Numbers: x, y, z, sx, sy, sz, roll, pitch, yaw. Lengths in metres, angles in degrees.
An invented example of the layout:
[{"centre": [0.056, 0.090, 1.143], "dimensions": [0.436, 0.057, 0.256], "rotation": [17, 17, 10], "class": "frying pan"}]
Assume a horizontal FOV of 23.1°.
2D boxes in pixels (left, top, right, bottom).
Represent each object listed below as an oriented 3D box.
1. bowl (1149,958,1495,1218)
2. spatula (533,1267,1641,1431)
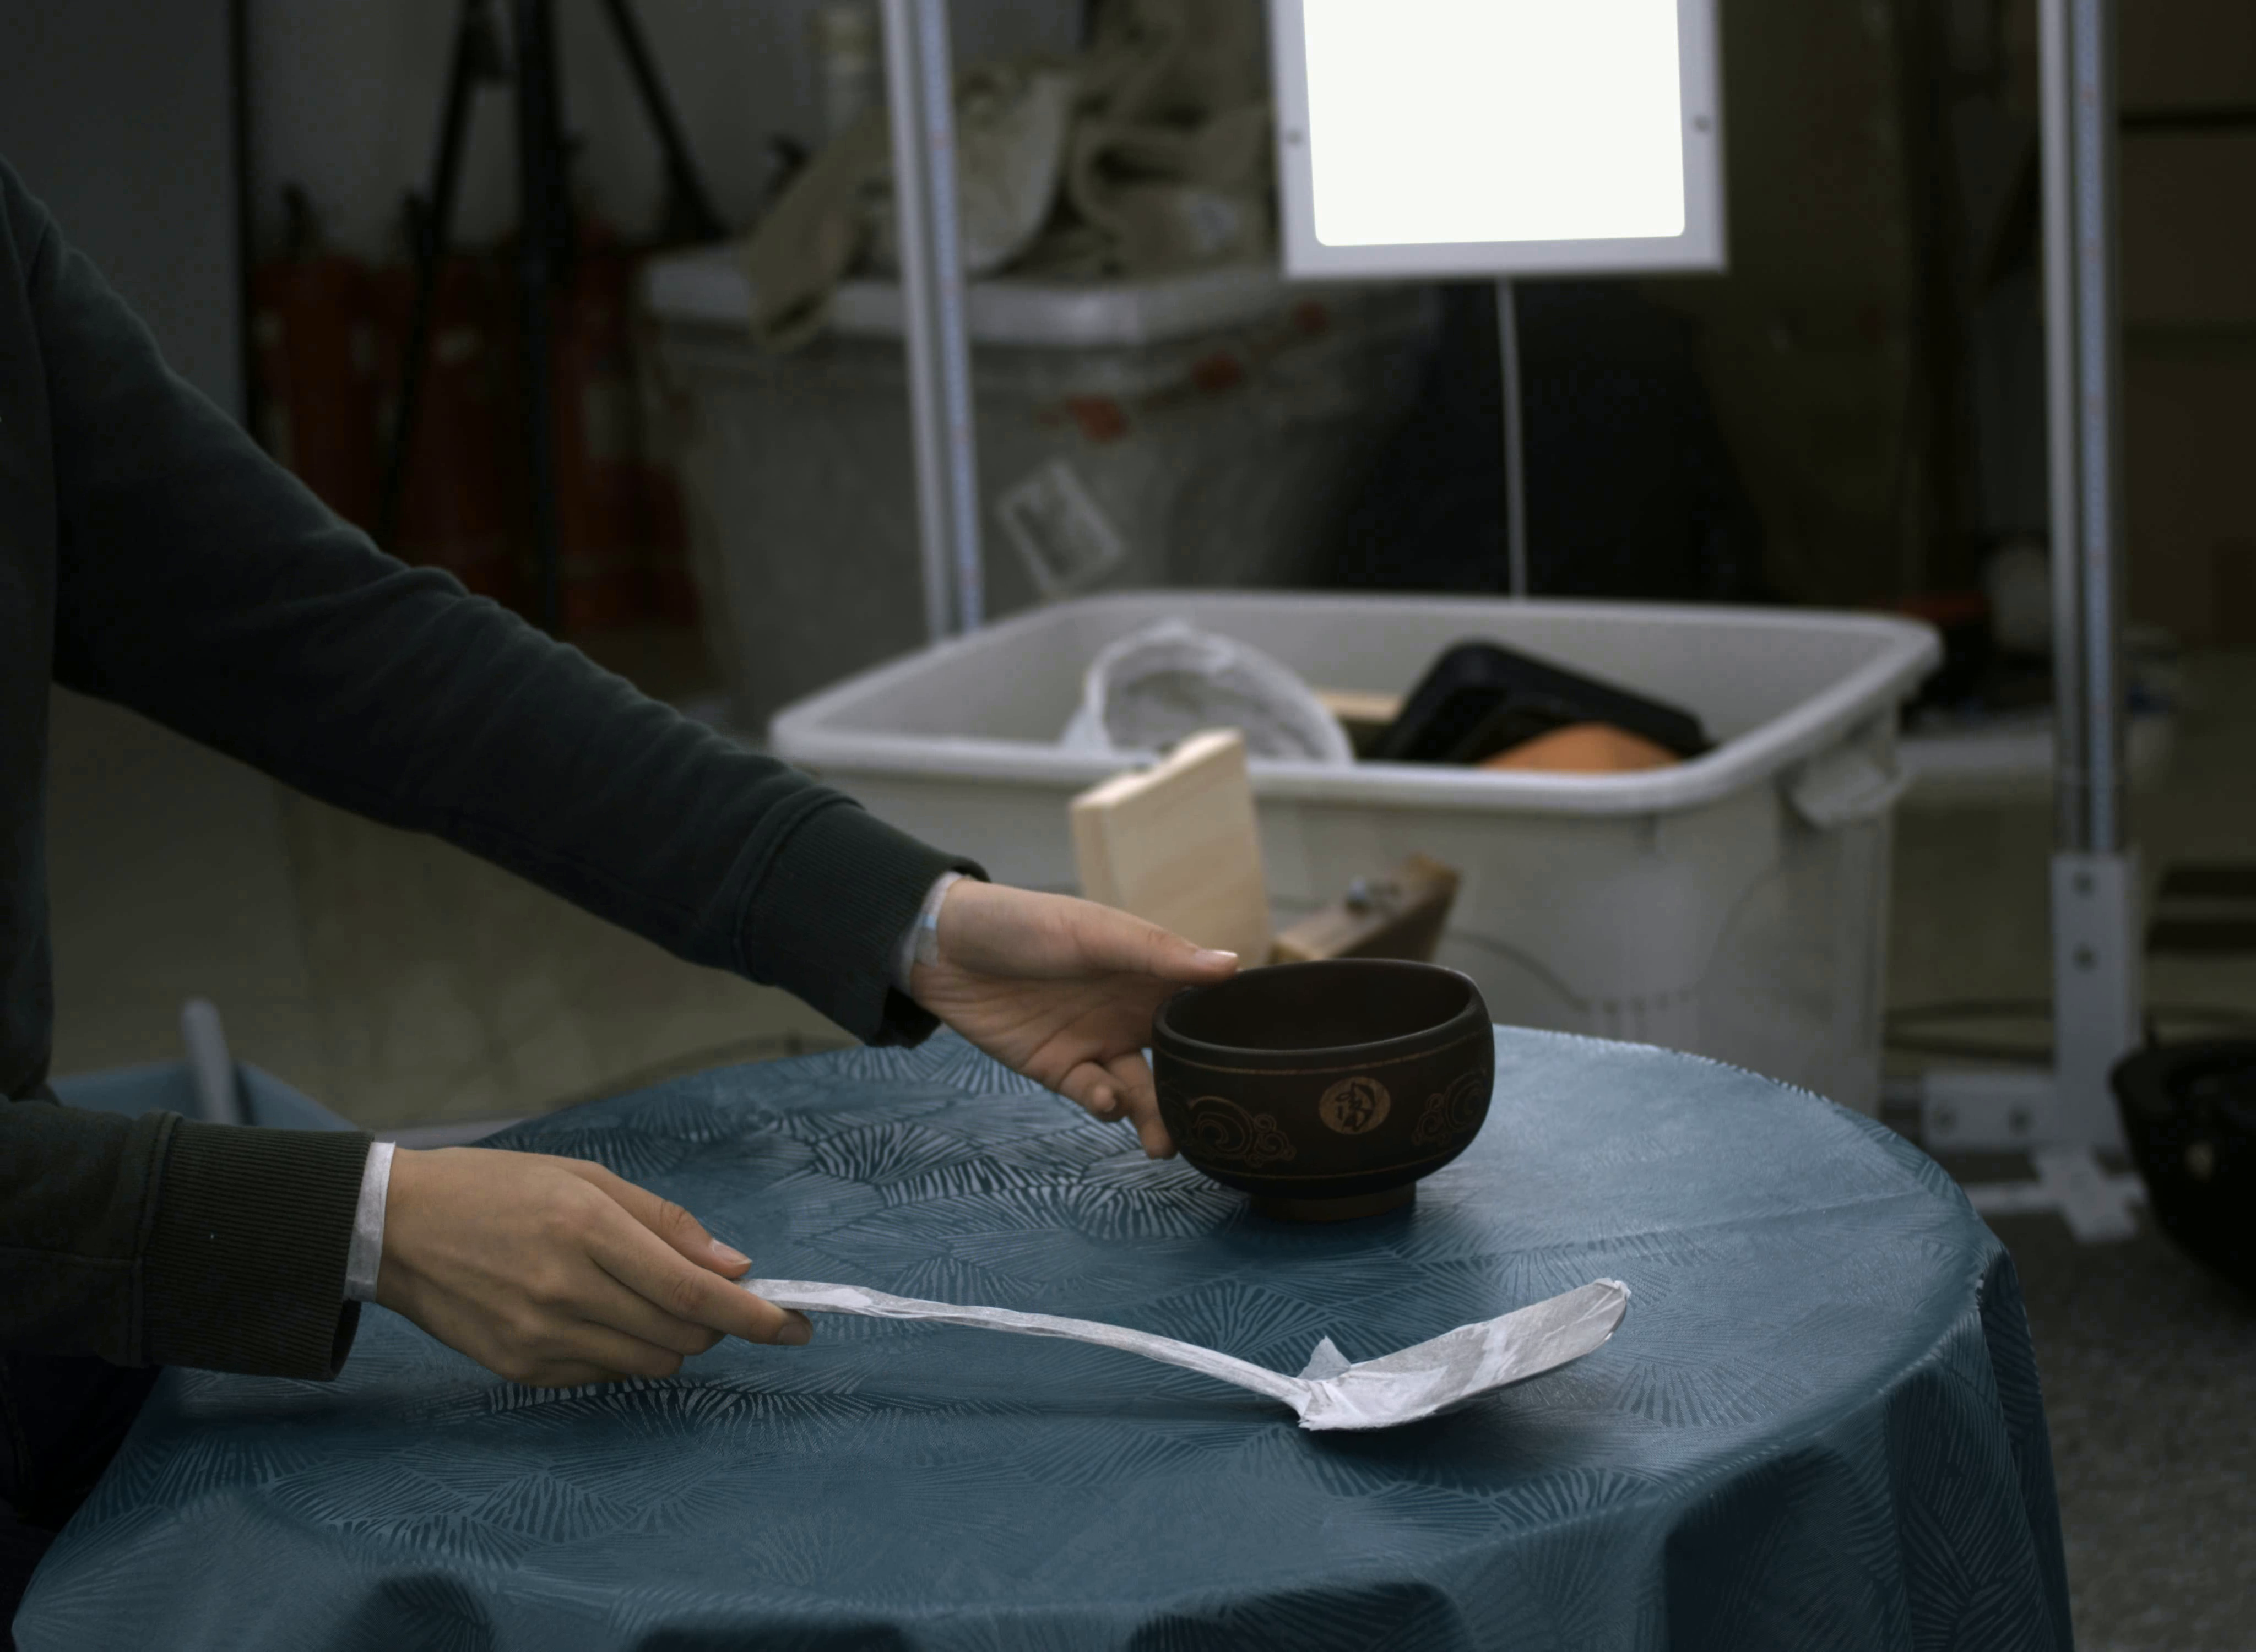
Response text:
[{"centre": [0.067, 0.092, 1.865], "dimensions": [0.118, 0.070, 0.118], "rotation": [-5, 12, 0], "class": "bowl"}, {"centre": [-0.023, 0.149, 1.697], "dimensions": [0.369, 0.045, 0.097], "rotation": [6, 16, 20], "class": "spatula"}]
